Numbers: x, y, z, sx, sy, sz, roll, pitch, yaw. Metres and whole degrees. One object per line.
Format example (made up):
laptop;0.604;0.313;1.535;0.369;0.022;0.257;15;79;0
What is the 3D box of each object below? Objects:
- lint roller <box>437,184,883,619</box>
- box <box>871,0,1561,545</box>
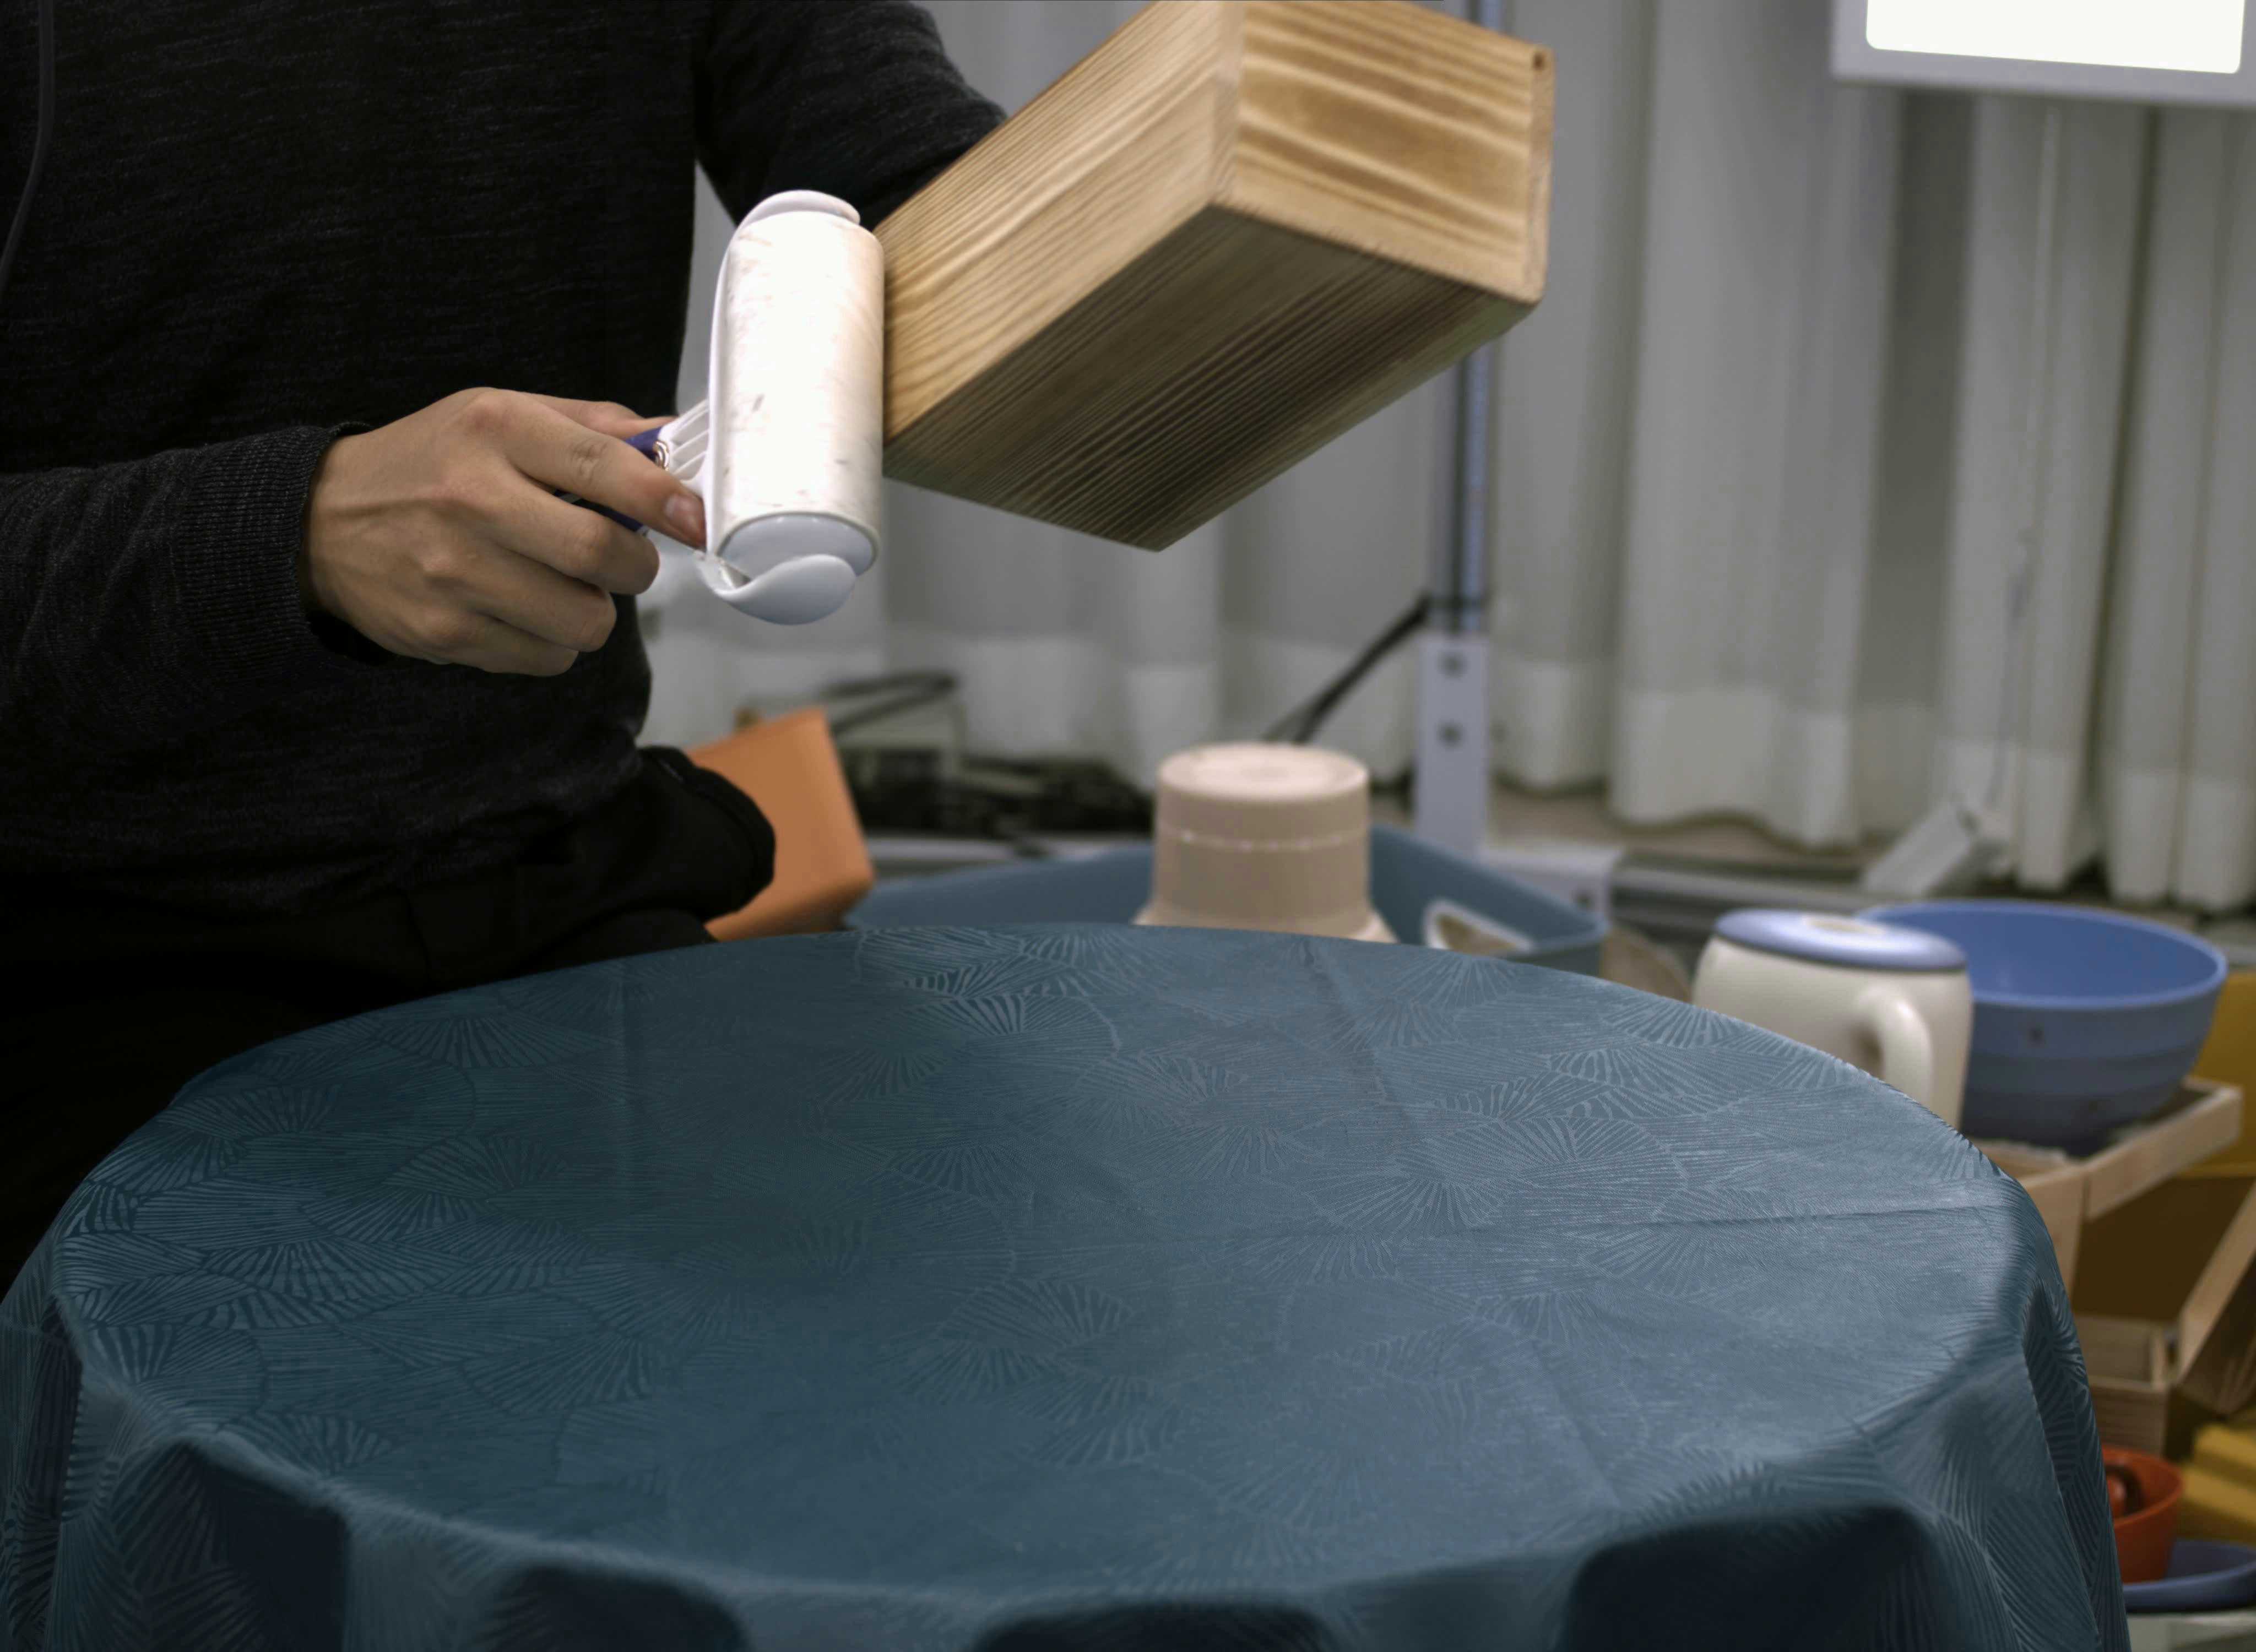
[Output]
lint roller;-0.147;-0.108;1.550;0.179;0.132;0.051;-16;-28;31
box;0.019;-0.163;1.483;0.108;0.080;0.210;14;-24;-27
